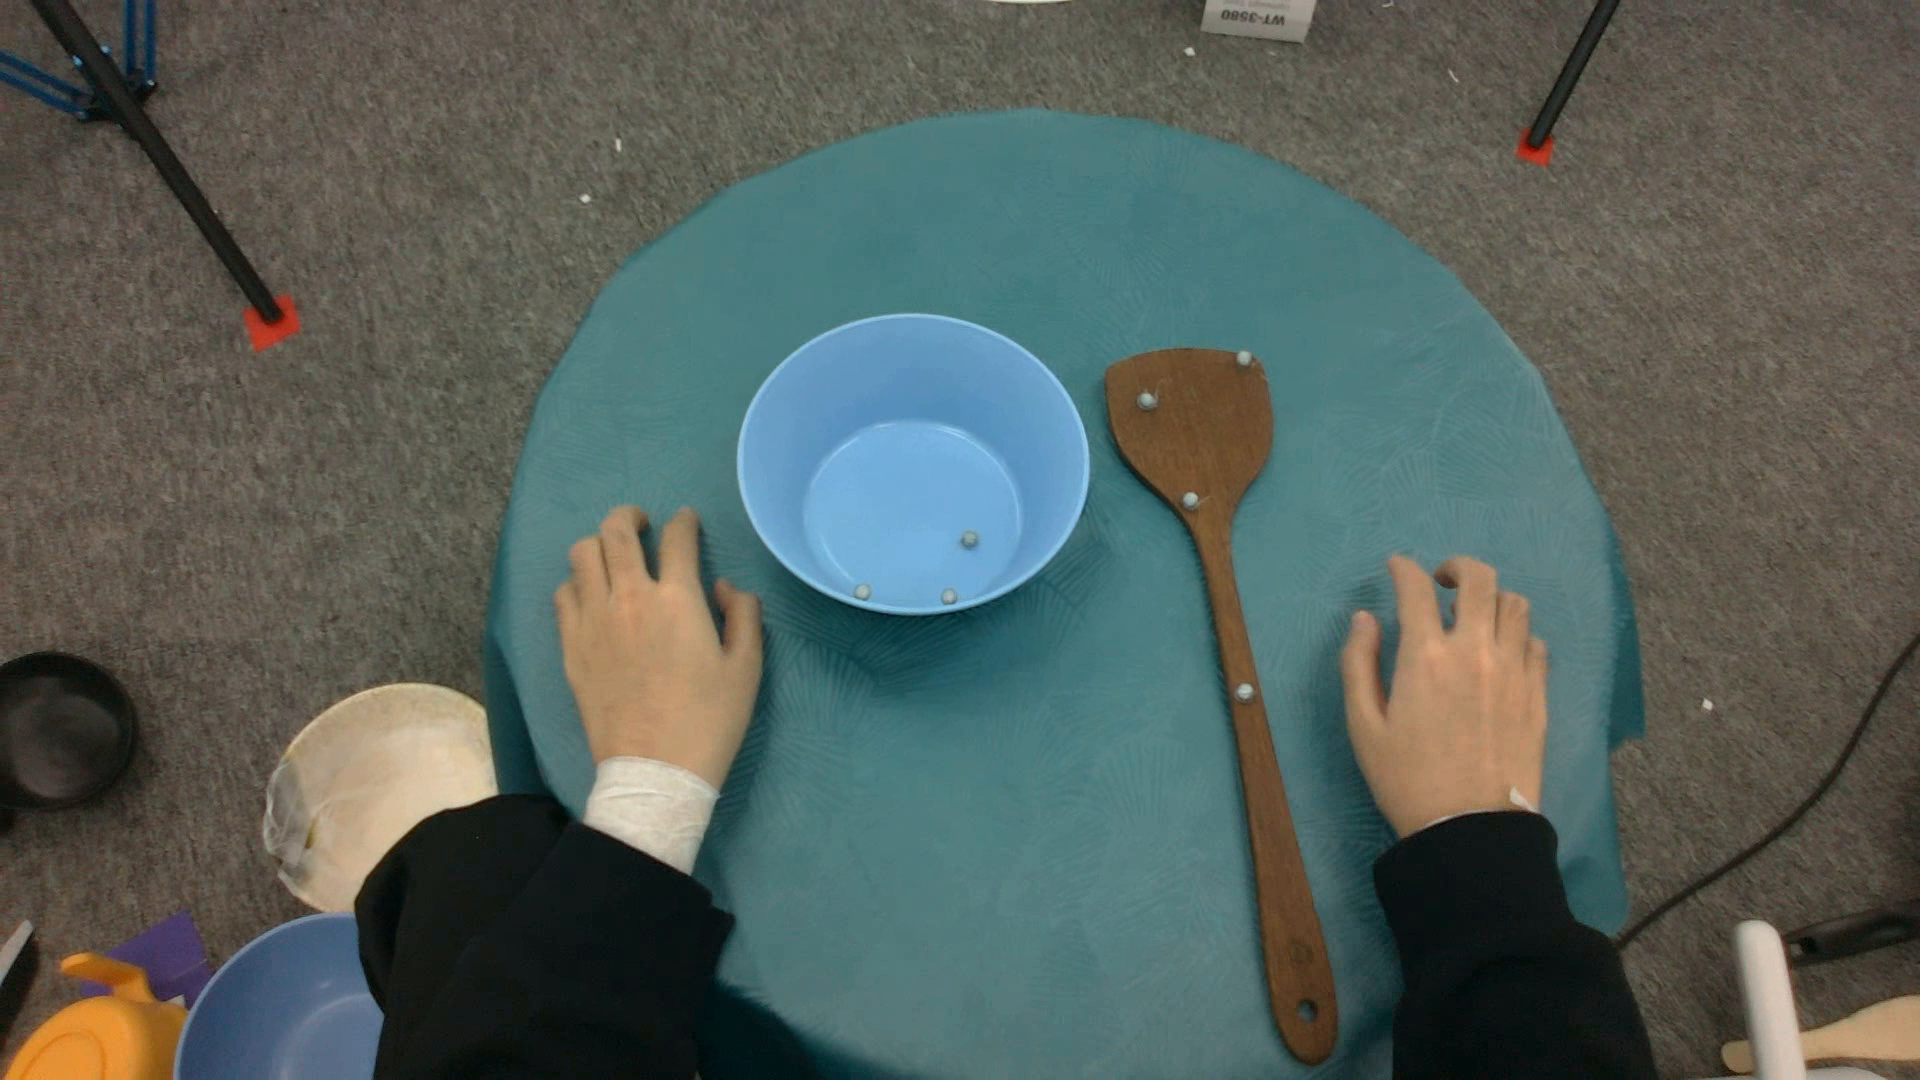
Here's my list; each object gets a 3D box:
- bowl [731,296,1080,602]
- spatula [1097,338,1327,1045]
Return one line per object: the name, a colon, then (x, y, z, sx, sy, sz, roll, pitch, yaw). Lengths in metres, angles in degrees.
bowl: (-0.028, -0.036, 0.716, 0.176, 0.070, 0.176, 1, 63, -2)
spatula: (0.138, 0.055, 0.708, 0.096, 0.016, 0.387, -3, 62, -5)
